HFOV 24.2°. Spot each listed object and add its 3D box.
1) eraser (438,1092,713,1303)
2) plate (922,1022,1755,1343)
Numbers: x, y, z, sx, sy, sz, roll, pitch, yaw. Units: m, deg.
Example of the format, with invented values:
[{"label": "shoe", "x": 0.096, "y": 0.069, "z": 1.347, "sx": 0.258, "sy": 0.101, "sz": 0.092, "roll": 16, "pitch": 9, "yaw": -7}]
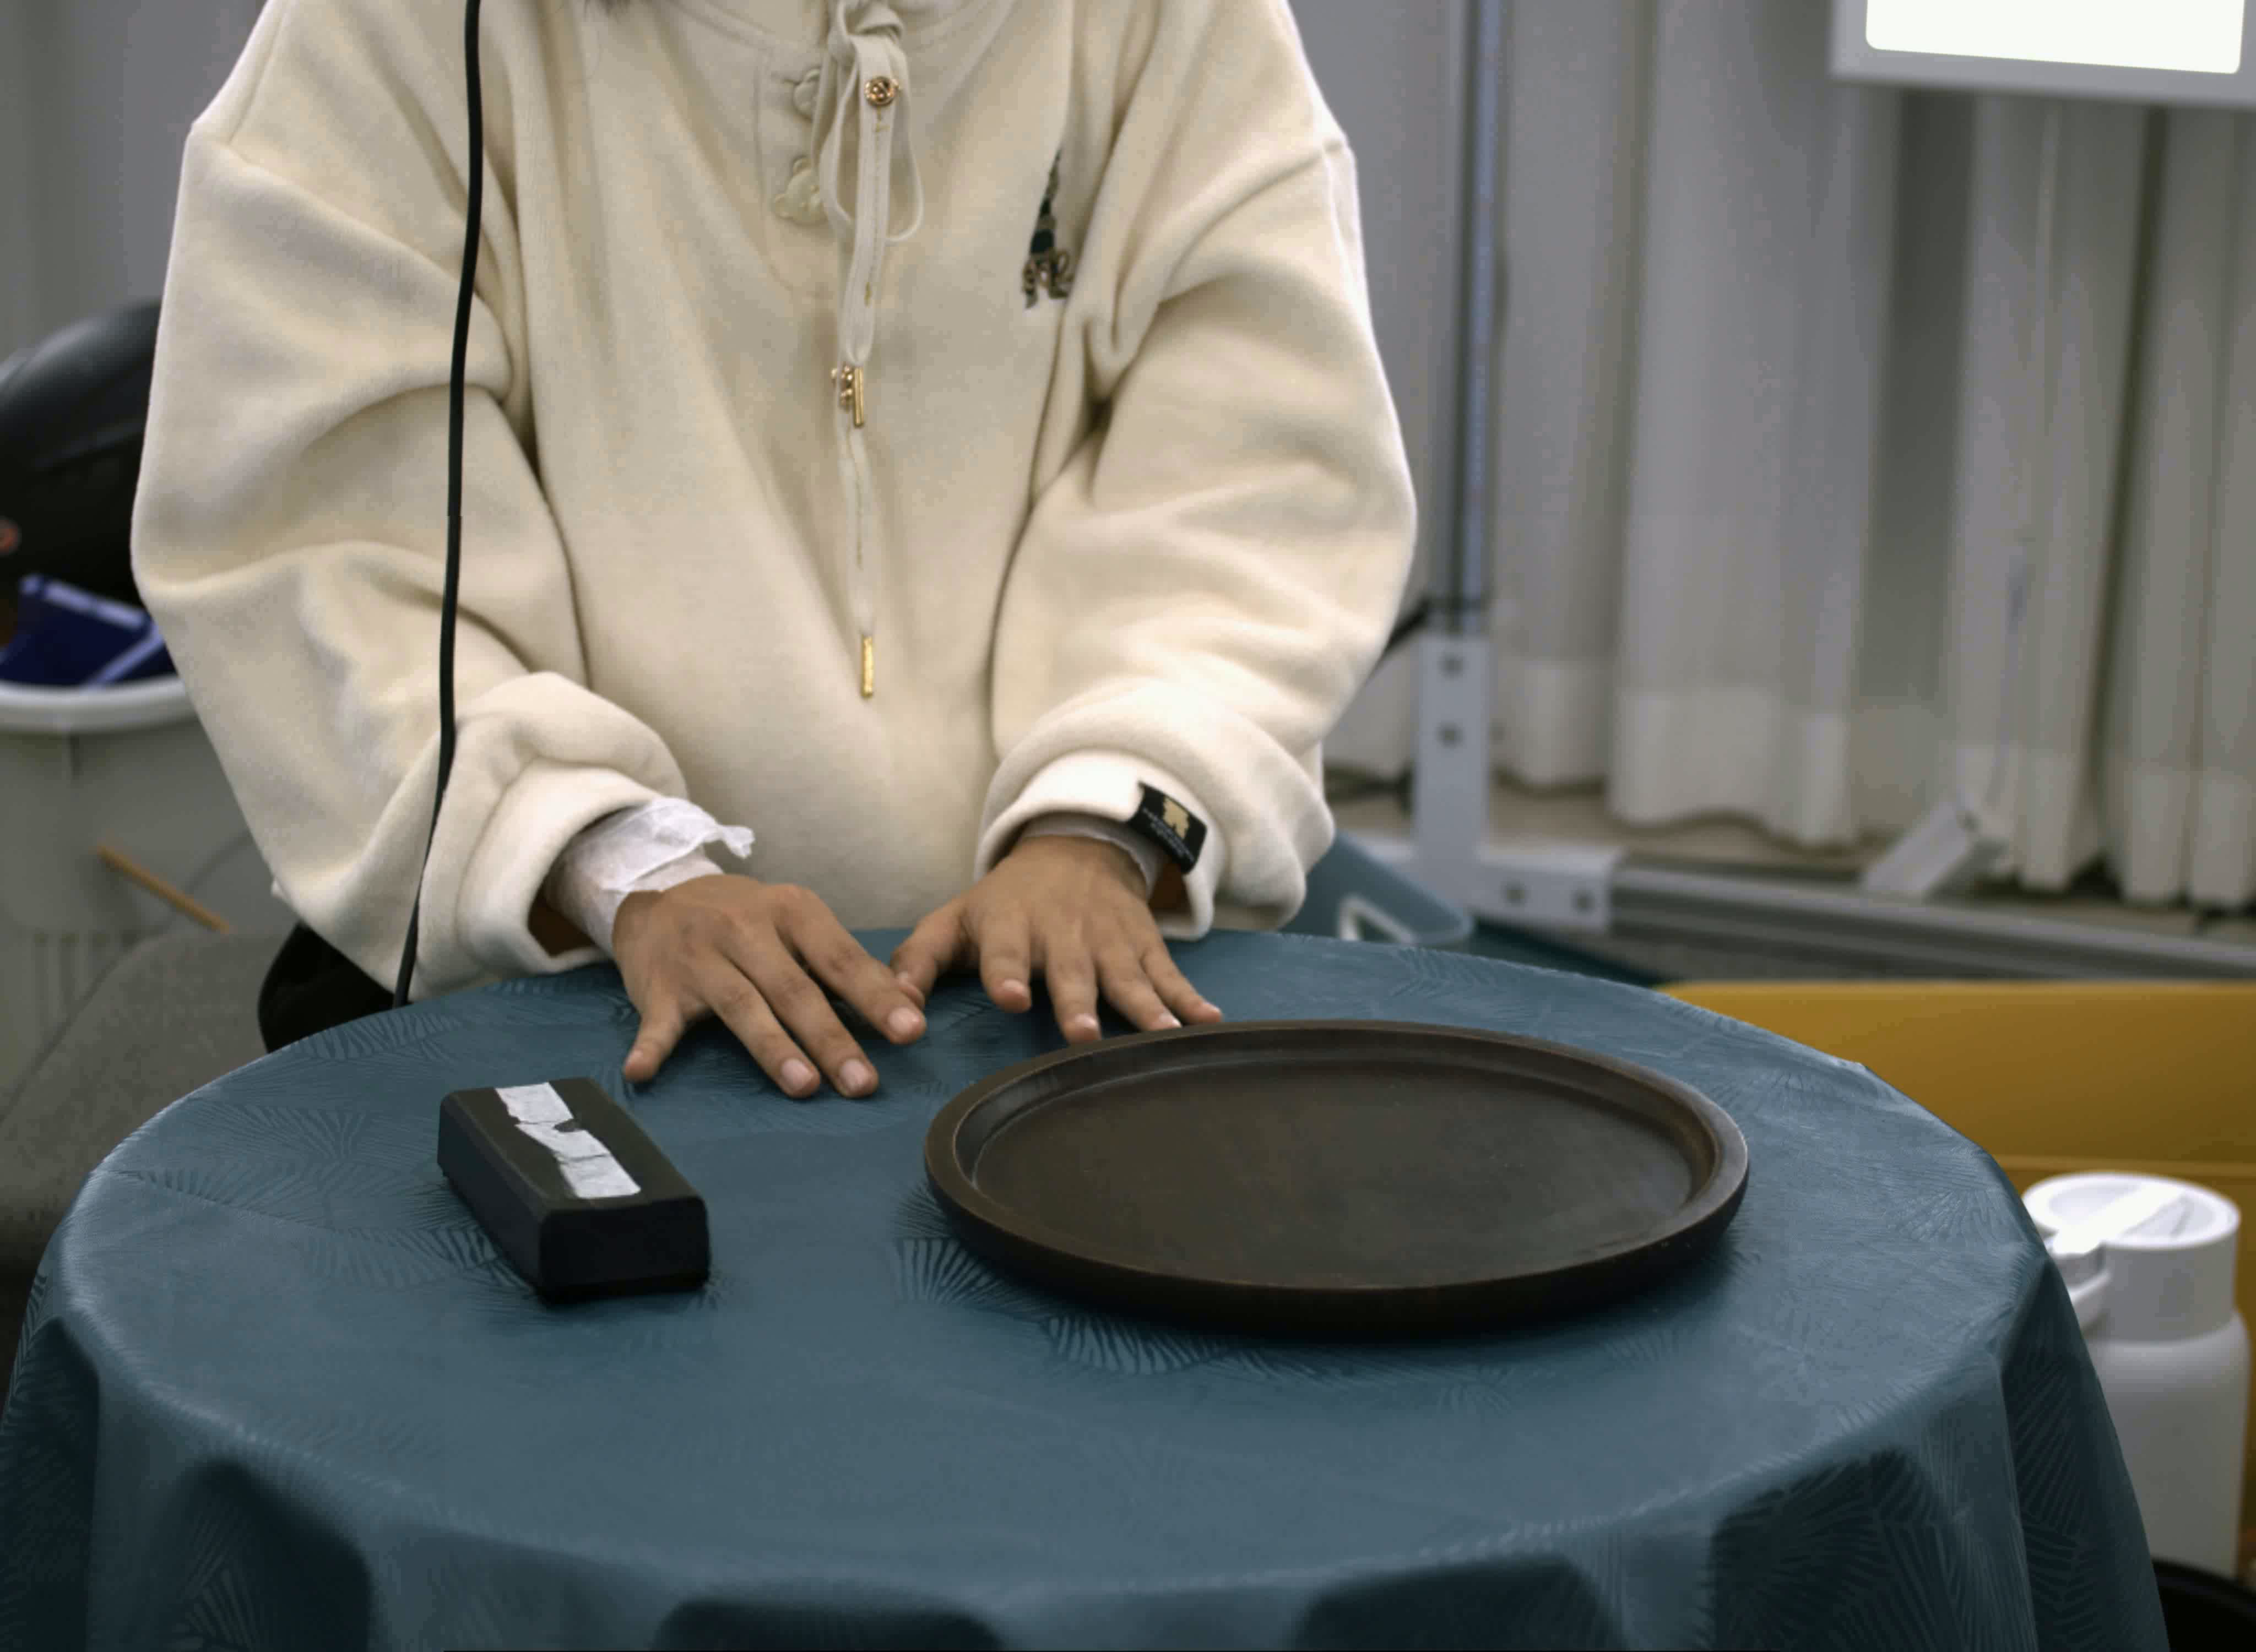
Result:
[{"label": "eraser", "x": -0.166, "y": 0.110, "z": 1.575, "sx": 0.053, "sy": 0.030, "sz": 0.124, "roll": -3, "pitch": 14, "yaw": -21}, {"label": "plate", "x": 0.064, "y": 0.105, "z": 1.603, "sx": 0.254, "sy": 0.029, "sz": 0.253, "roll": 1, "pitch": 17, "yaw": 0}]
